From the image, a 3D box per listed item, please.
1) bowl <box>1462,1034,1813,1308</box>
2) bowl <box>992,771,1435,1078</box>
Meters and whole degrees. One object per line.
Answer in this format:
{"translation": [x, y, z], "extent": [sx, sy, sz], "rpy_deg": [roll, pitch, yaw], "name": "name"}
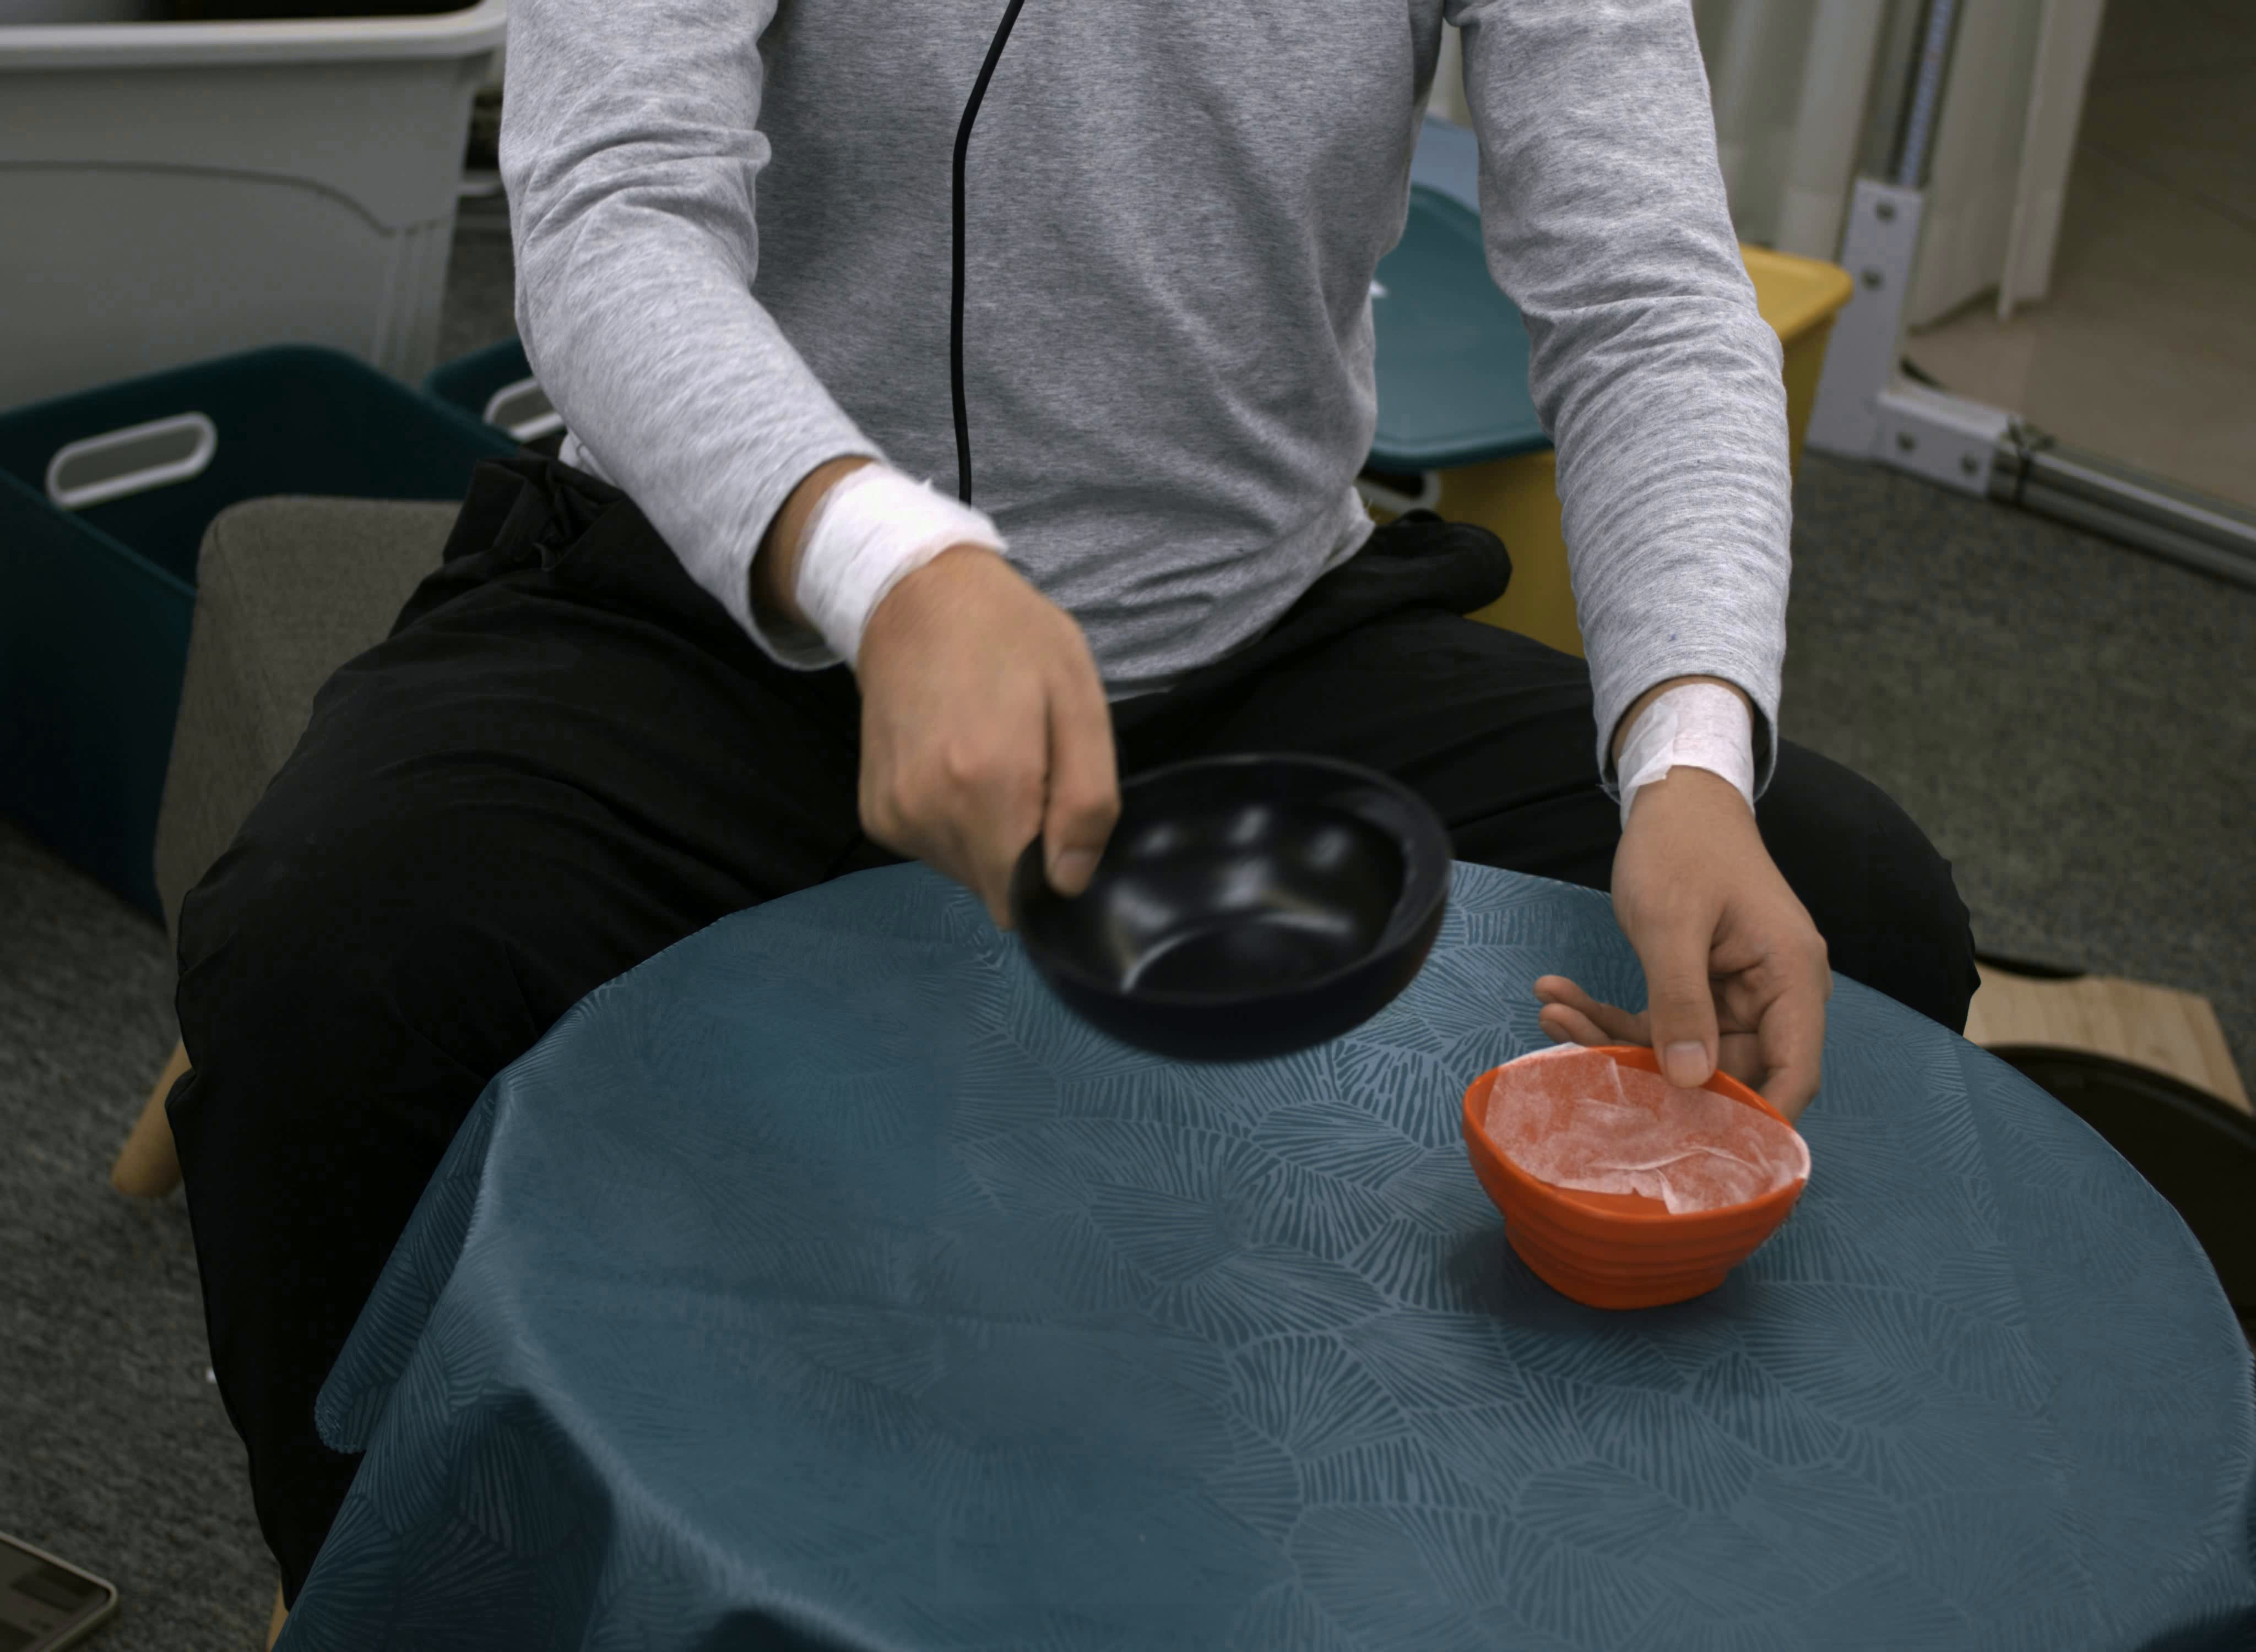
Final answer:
{"translation": [0.168, 0.121, 1.789], "extent": [0.118, 0.051, 0.119], "rpy_deg": [5, 29, -3], "name": "bowl"}
{"translation": [0.029, 0.039, 1.658], "extent": [0.140, 0.049, 0.141], "rpy_deg": [-7, 30, 4], "name": "bowl"}
